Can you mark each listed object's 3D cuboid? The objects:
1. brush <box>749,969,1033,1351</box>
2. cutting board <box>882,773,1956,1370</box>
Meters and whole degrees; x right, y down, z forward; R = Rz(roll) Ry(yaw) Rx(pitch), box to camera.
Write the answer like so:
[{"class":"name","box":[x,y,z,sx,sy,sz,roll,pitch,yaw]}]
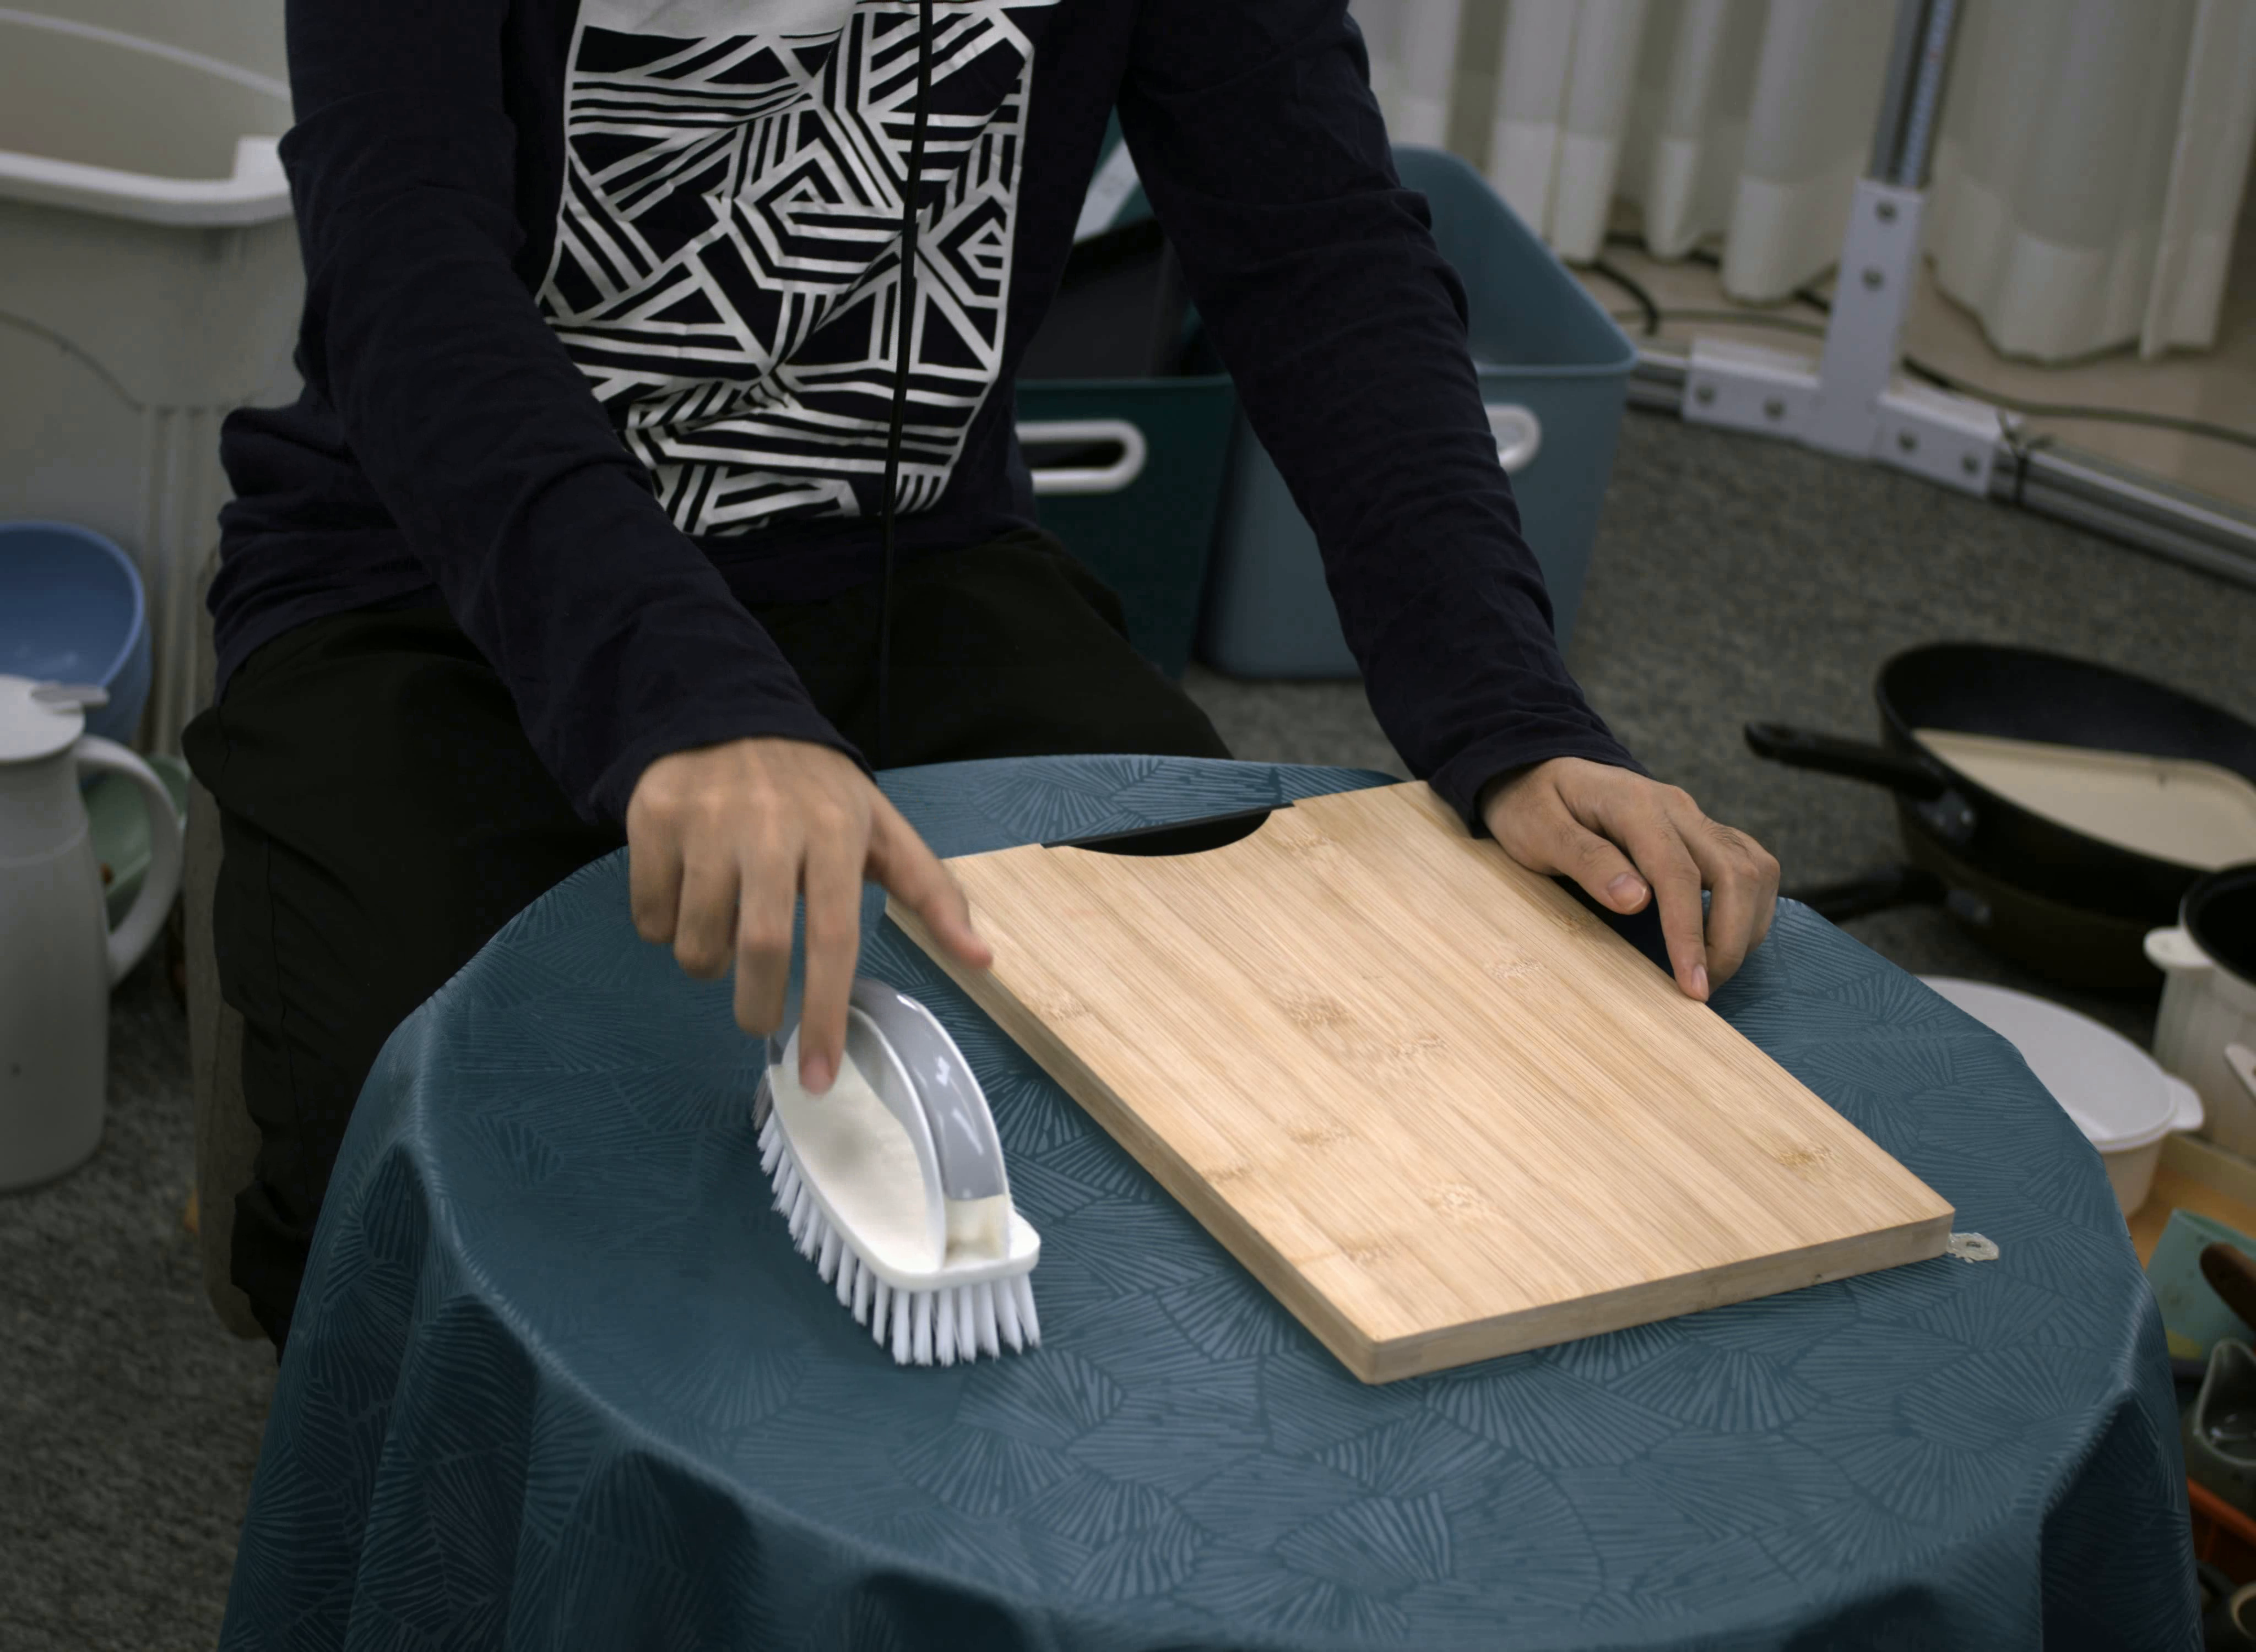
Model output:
[{"class":"brush","box":[-0.085,0.094,1.745,0.061,0.094,0.177,-5,26,-25]},{"class":"cutting board","box":[0.096,0.080,1.896,0.249,0.023,0.352,-9,31,-29]}]
